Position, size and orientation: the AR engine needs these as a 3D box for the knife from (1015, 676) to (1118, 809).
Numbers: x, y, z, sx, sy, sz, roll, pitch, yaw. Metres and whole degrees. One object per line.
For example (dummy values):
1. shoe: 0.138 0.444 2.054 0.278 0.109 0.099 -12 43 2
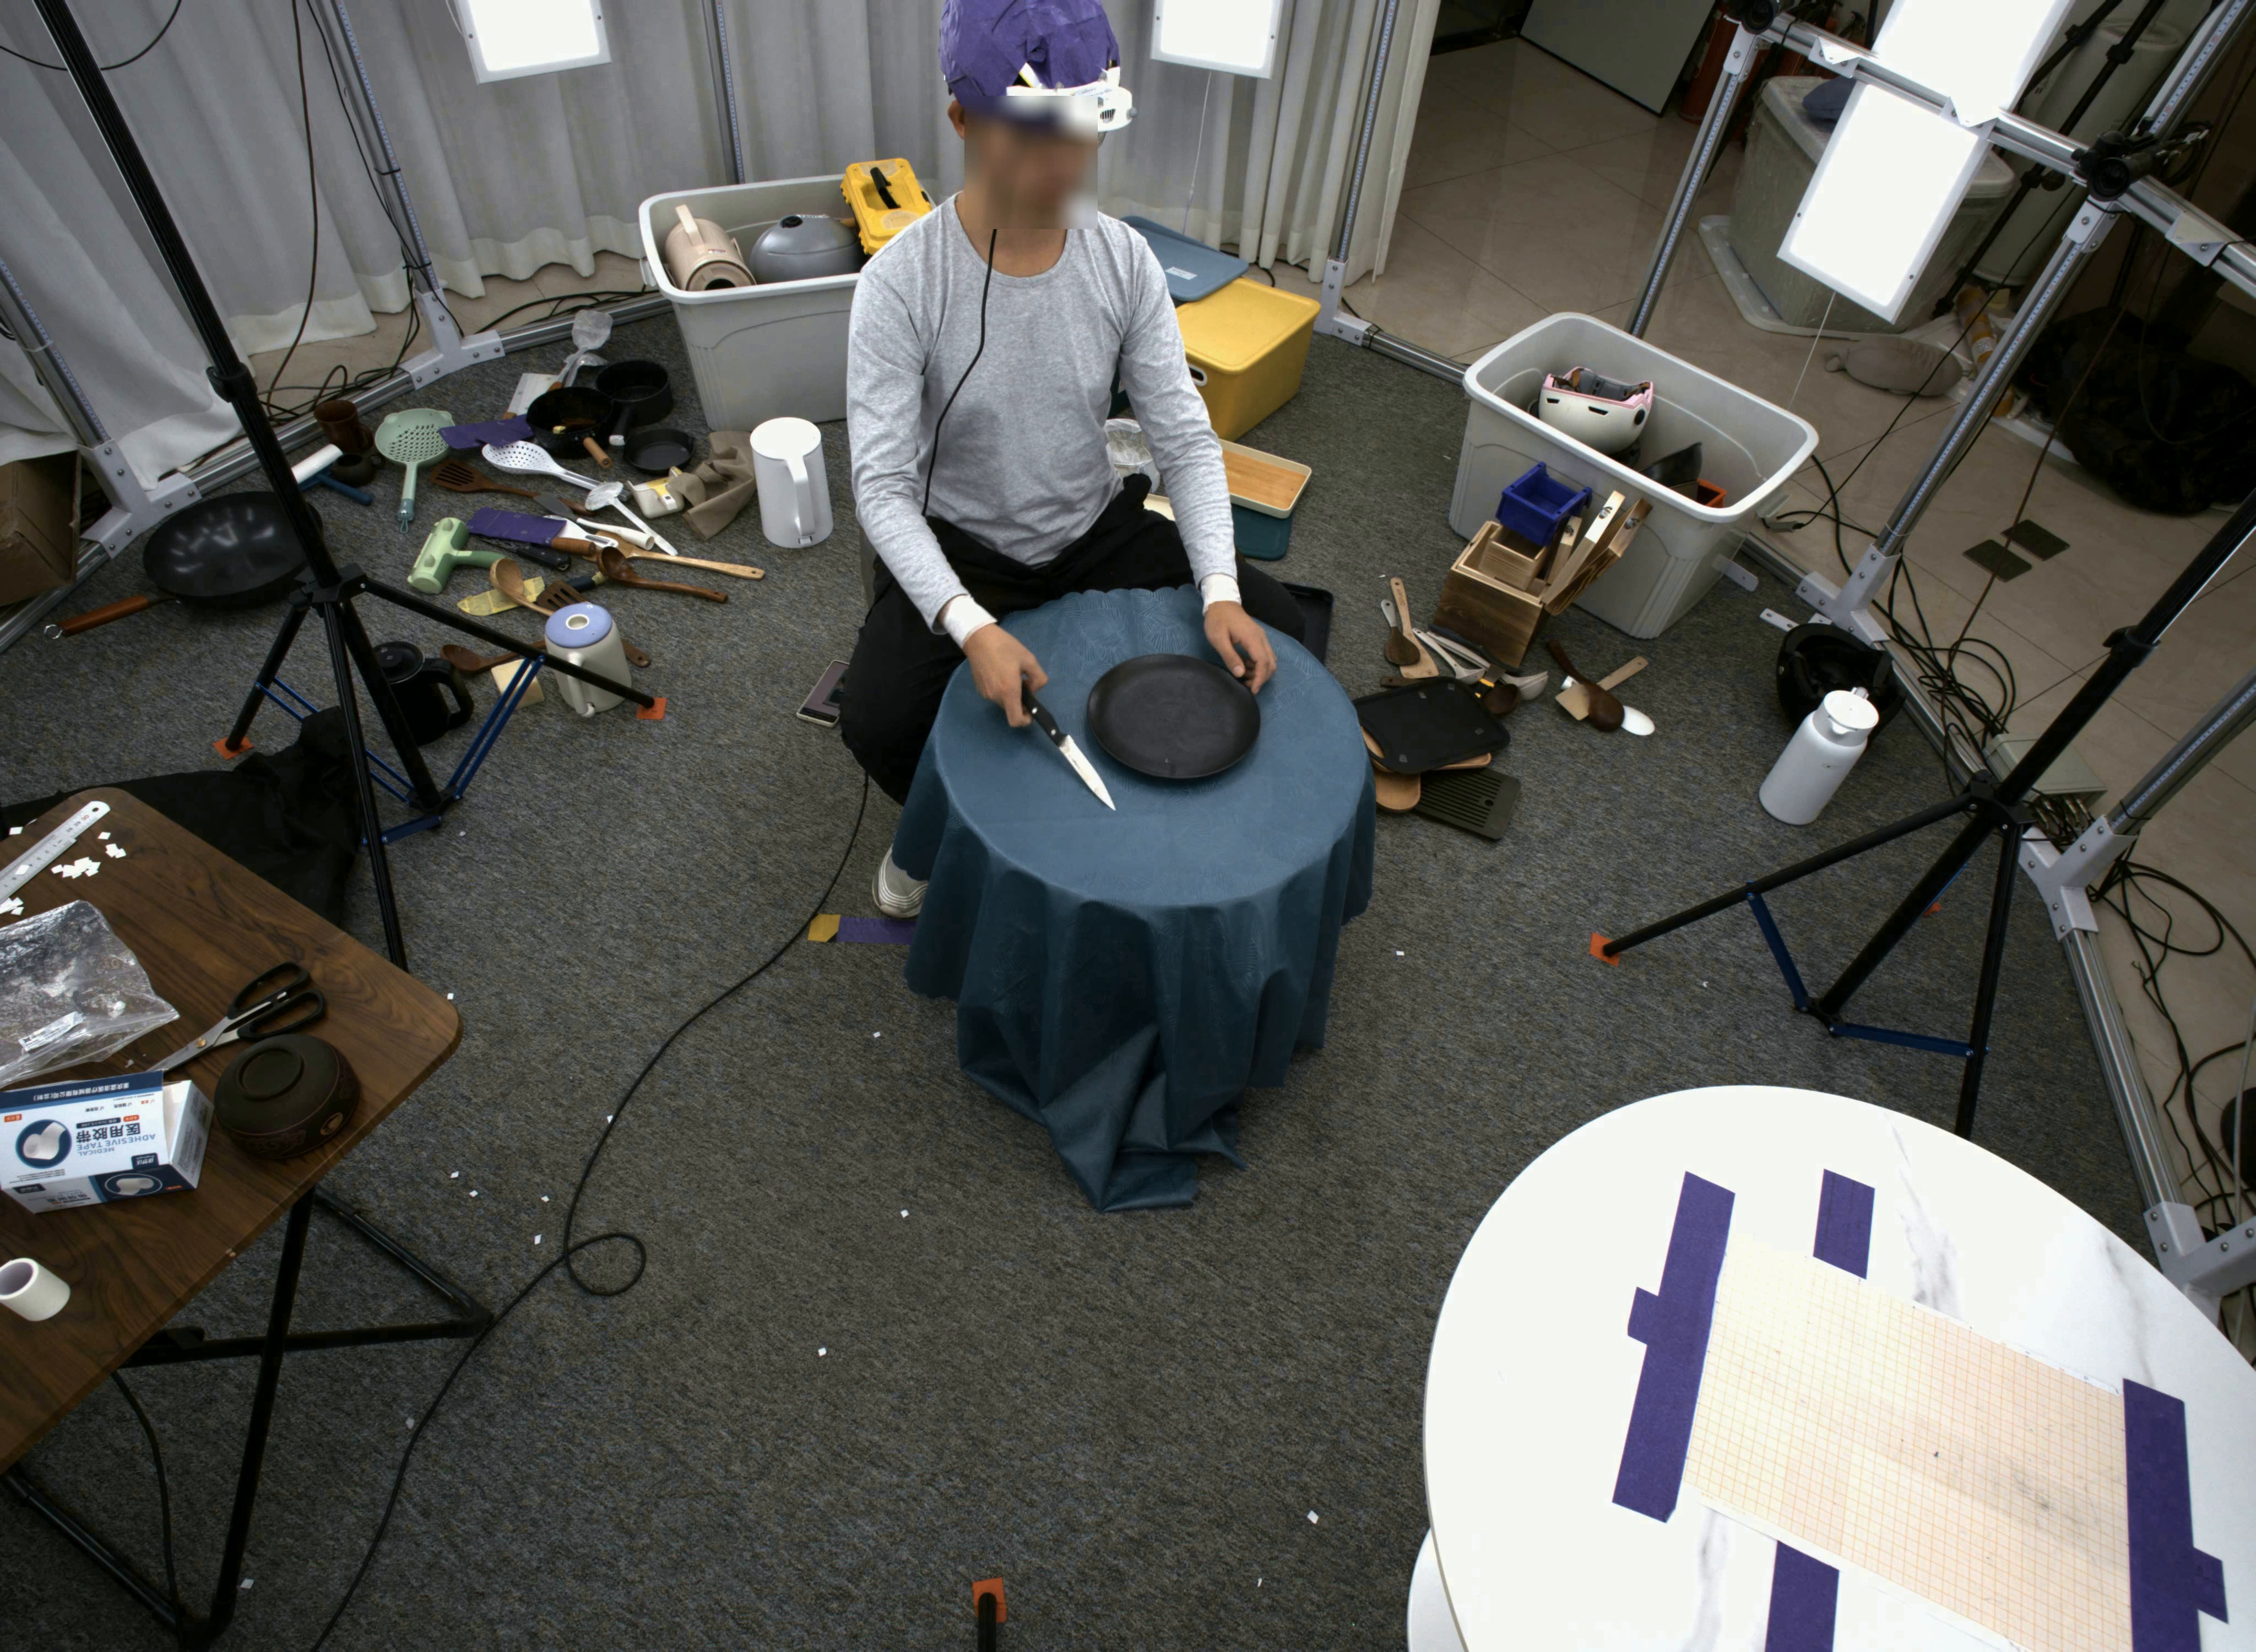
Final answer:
1. knife: -0.085 -0.111 1.726 0.024 0.016 0.242 -36 69 -4

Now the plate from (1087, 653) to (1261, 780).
1. plate: 0.063 -0.151 1.788 0.244 0.023 0.250 2 49 -2
